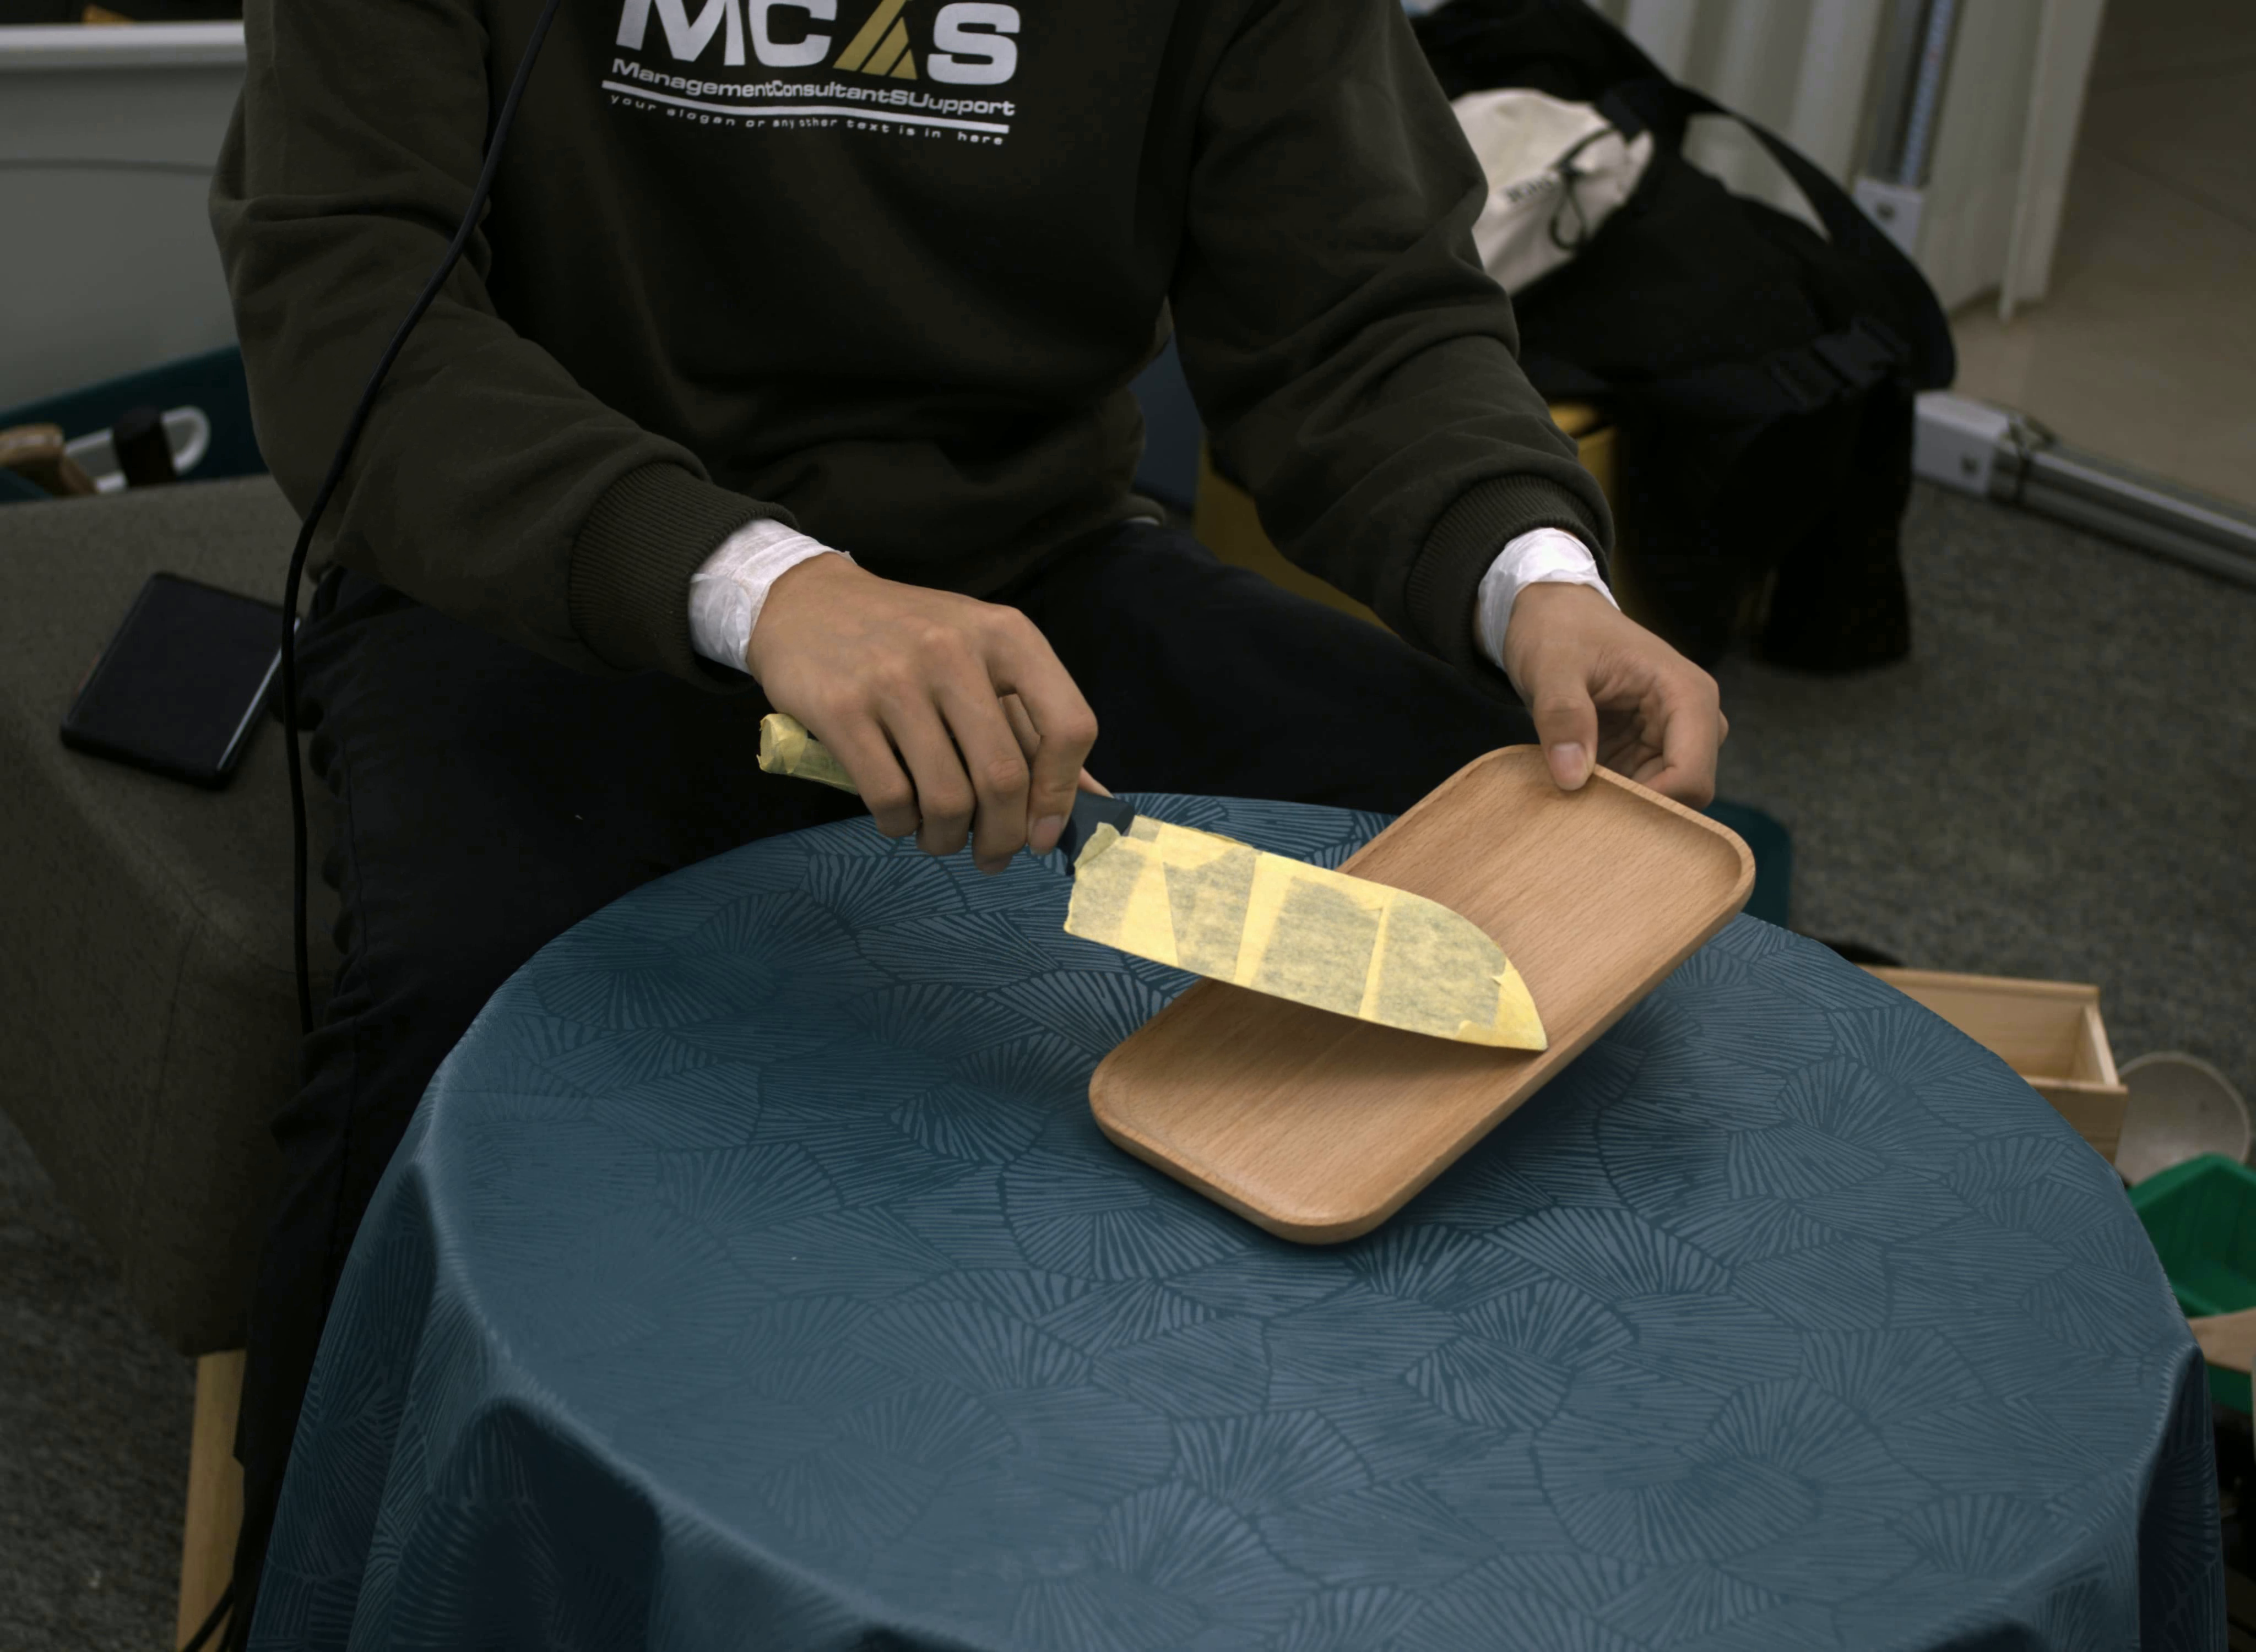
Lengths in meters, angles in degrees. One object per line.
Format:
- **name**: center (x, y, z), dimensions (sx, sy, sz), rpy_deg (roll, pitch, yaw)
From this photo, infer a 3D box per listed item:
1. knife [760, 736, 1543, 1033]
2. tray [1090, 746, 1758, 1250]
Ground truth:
- **knife**: center (0.006, 0.021, 1.850), dimensions (0.289, 0.027, 0.081), rpy_deg (16, 38, 4)
- **tray**: center (0.106, 0.058, 1.864), dimensions (0.131, 0.023, 0.250), rpy_deg (25, 50, 37)
